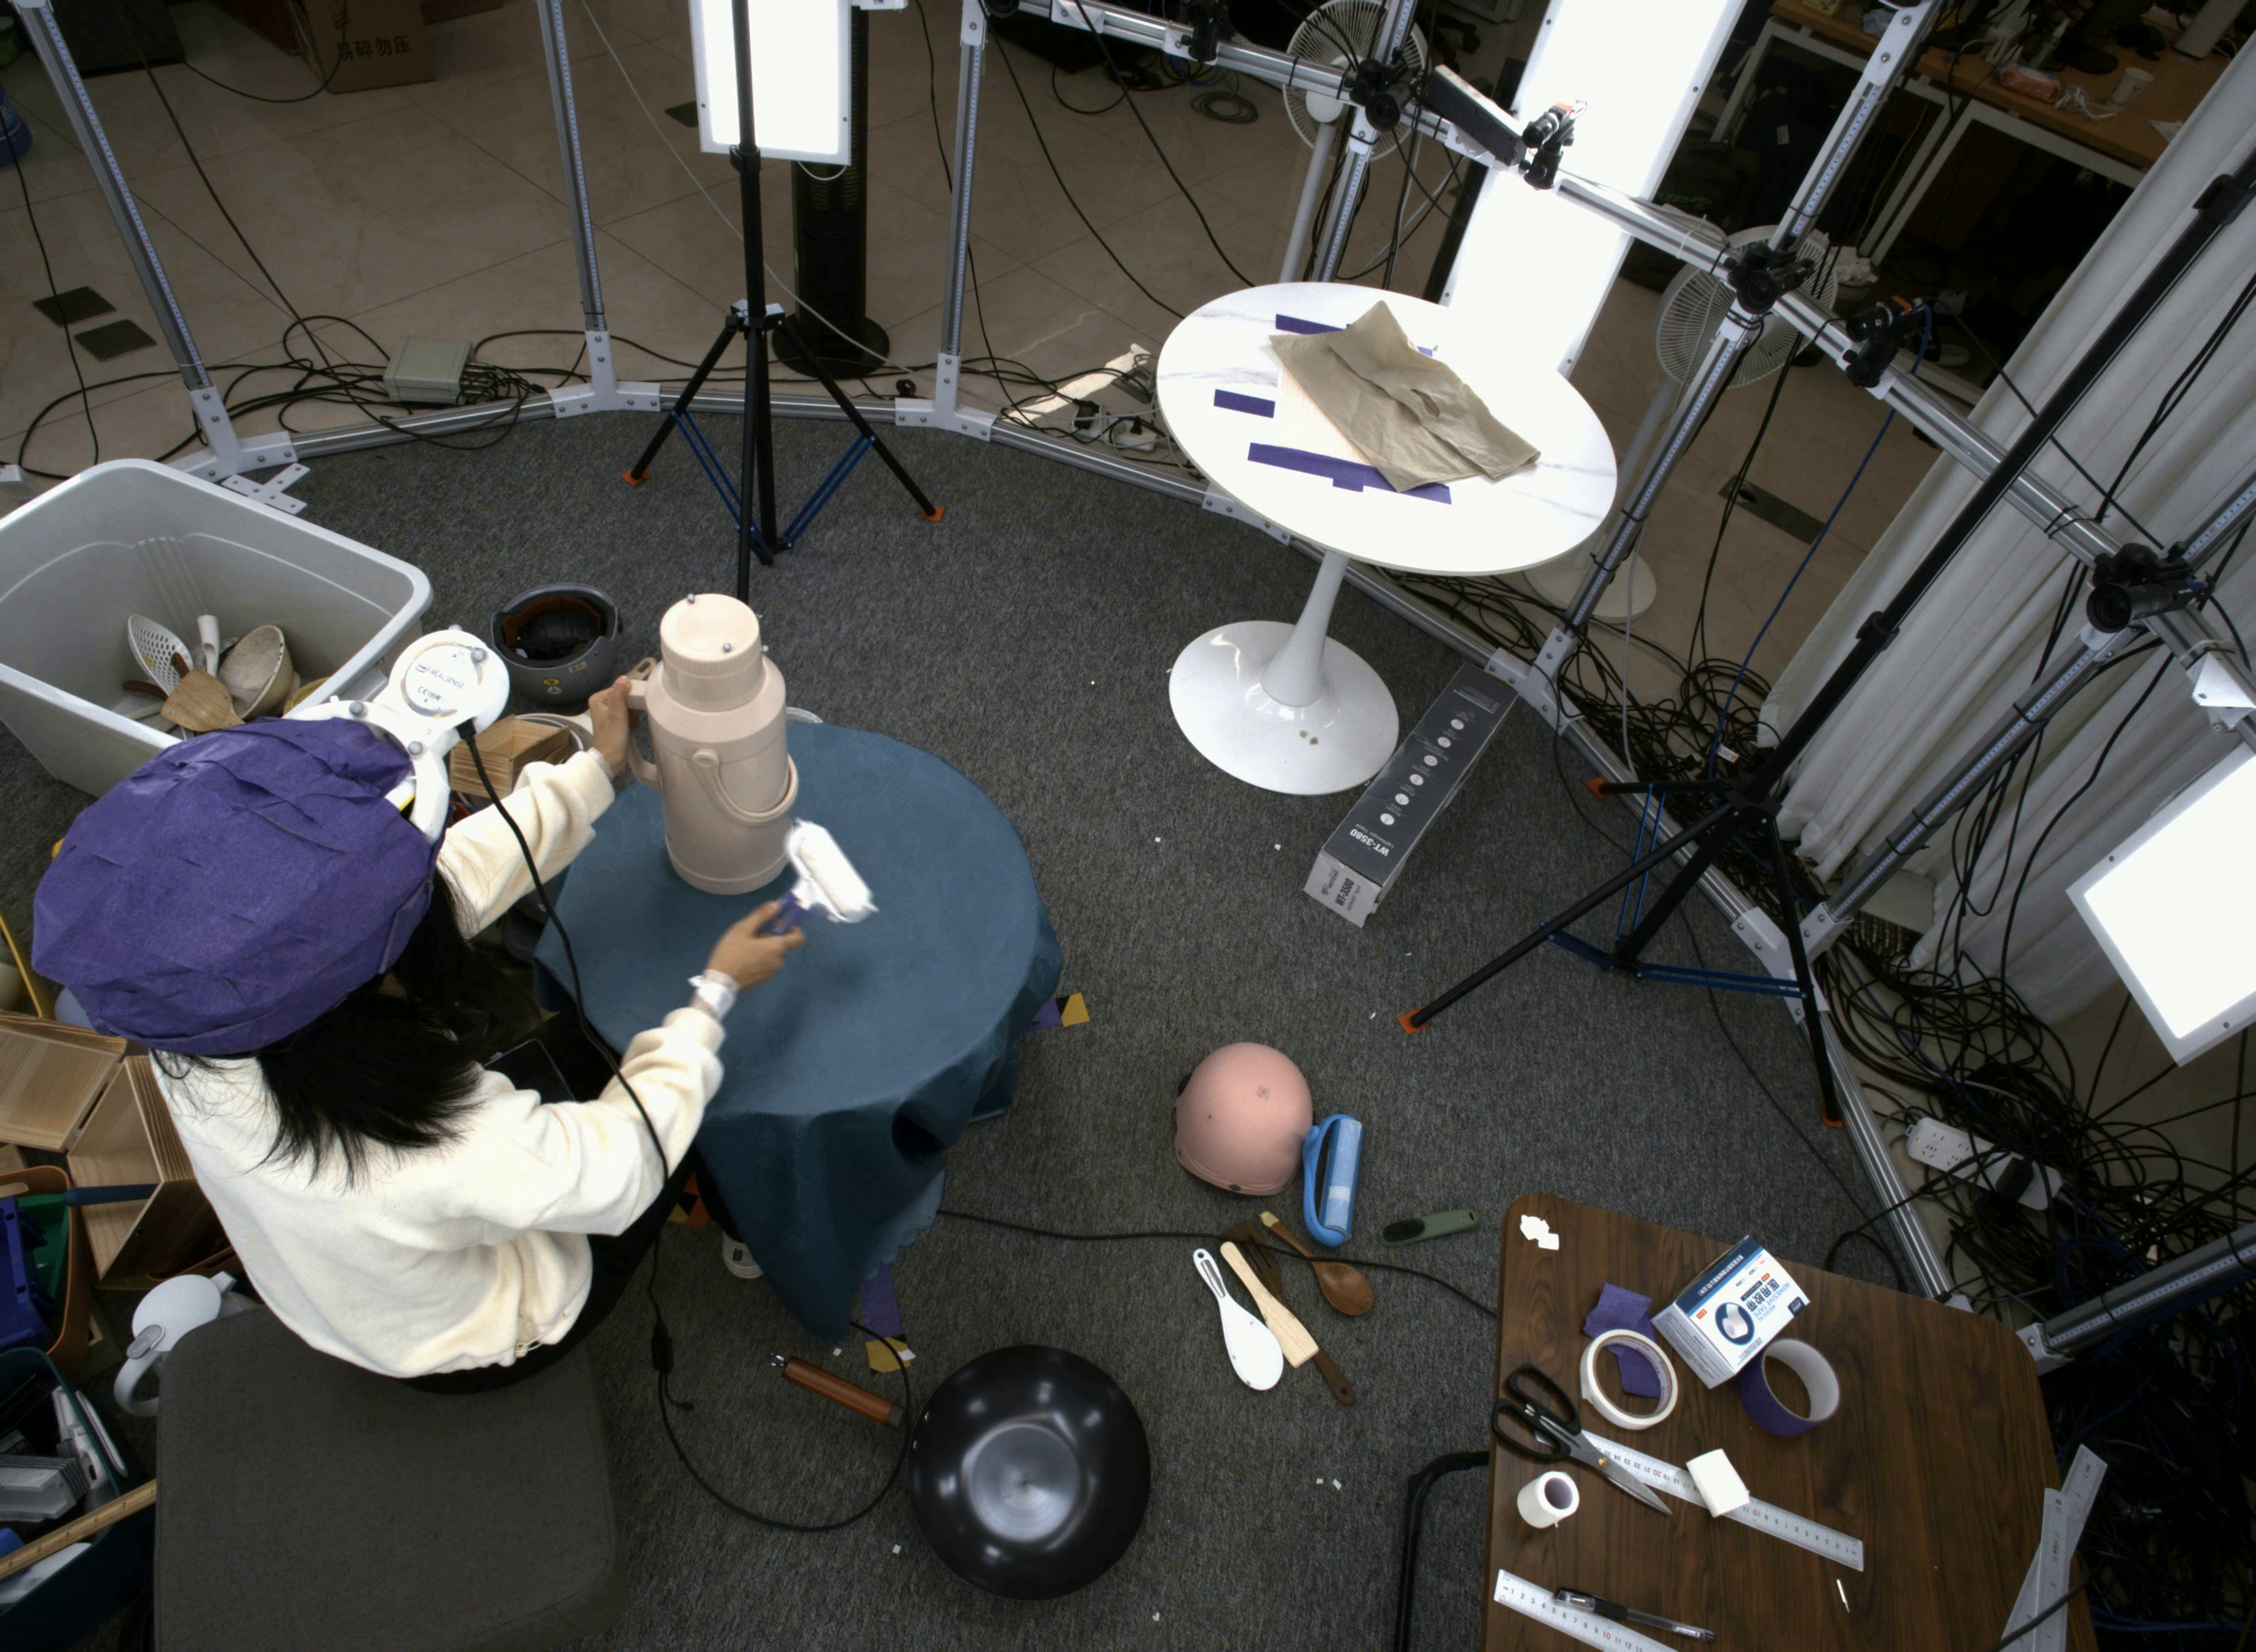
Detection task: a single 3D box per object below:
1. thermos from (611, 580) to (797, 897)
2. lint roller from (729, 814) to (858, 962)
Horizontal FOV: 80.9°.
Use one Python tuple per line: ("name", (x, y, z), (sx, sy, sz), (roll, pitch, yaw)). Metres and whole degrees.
("thermos", (-0.498, -0.101, 1.518), (0.207, 0.415, 0.172), (2, 52, -10))
("lint roller", (-0.391, 0.083, 1.486), (0.048, 0.138, 0.179), (-4, 37, 33))
